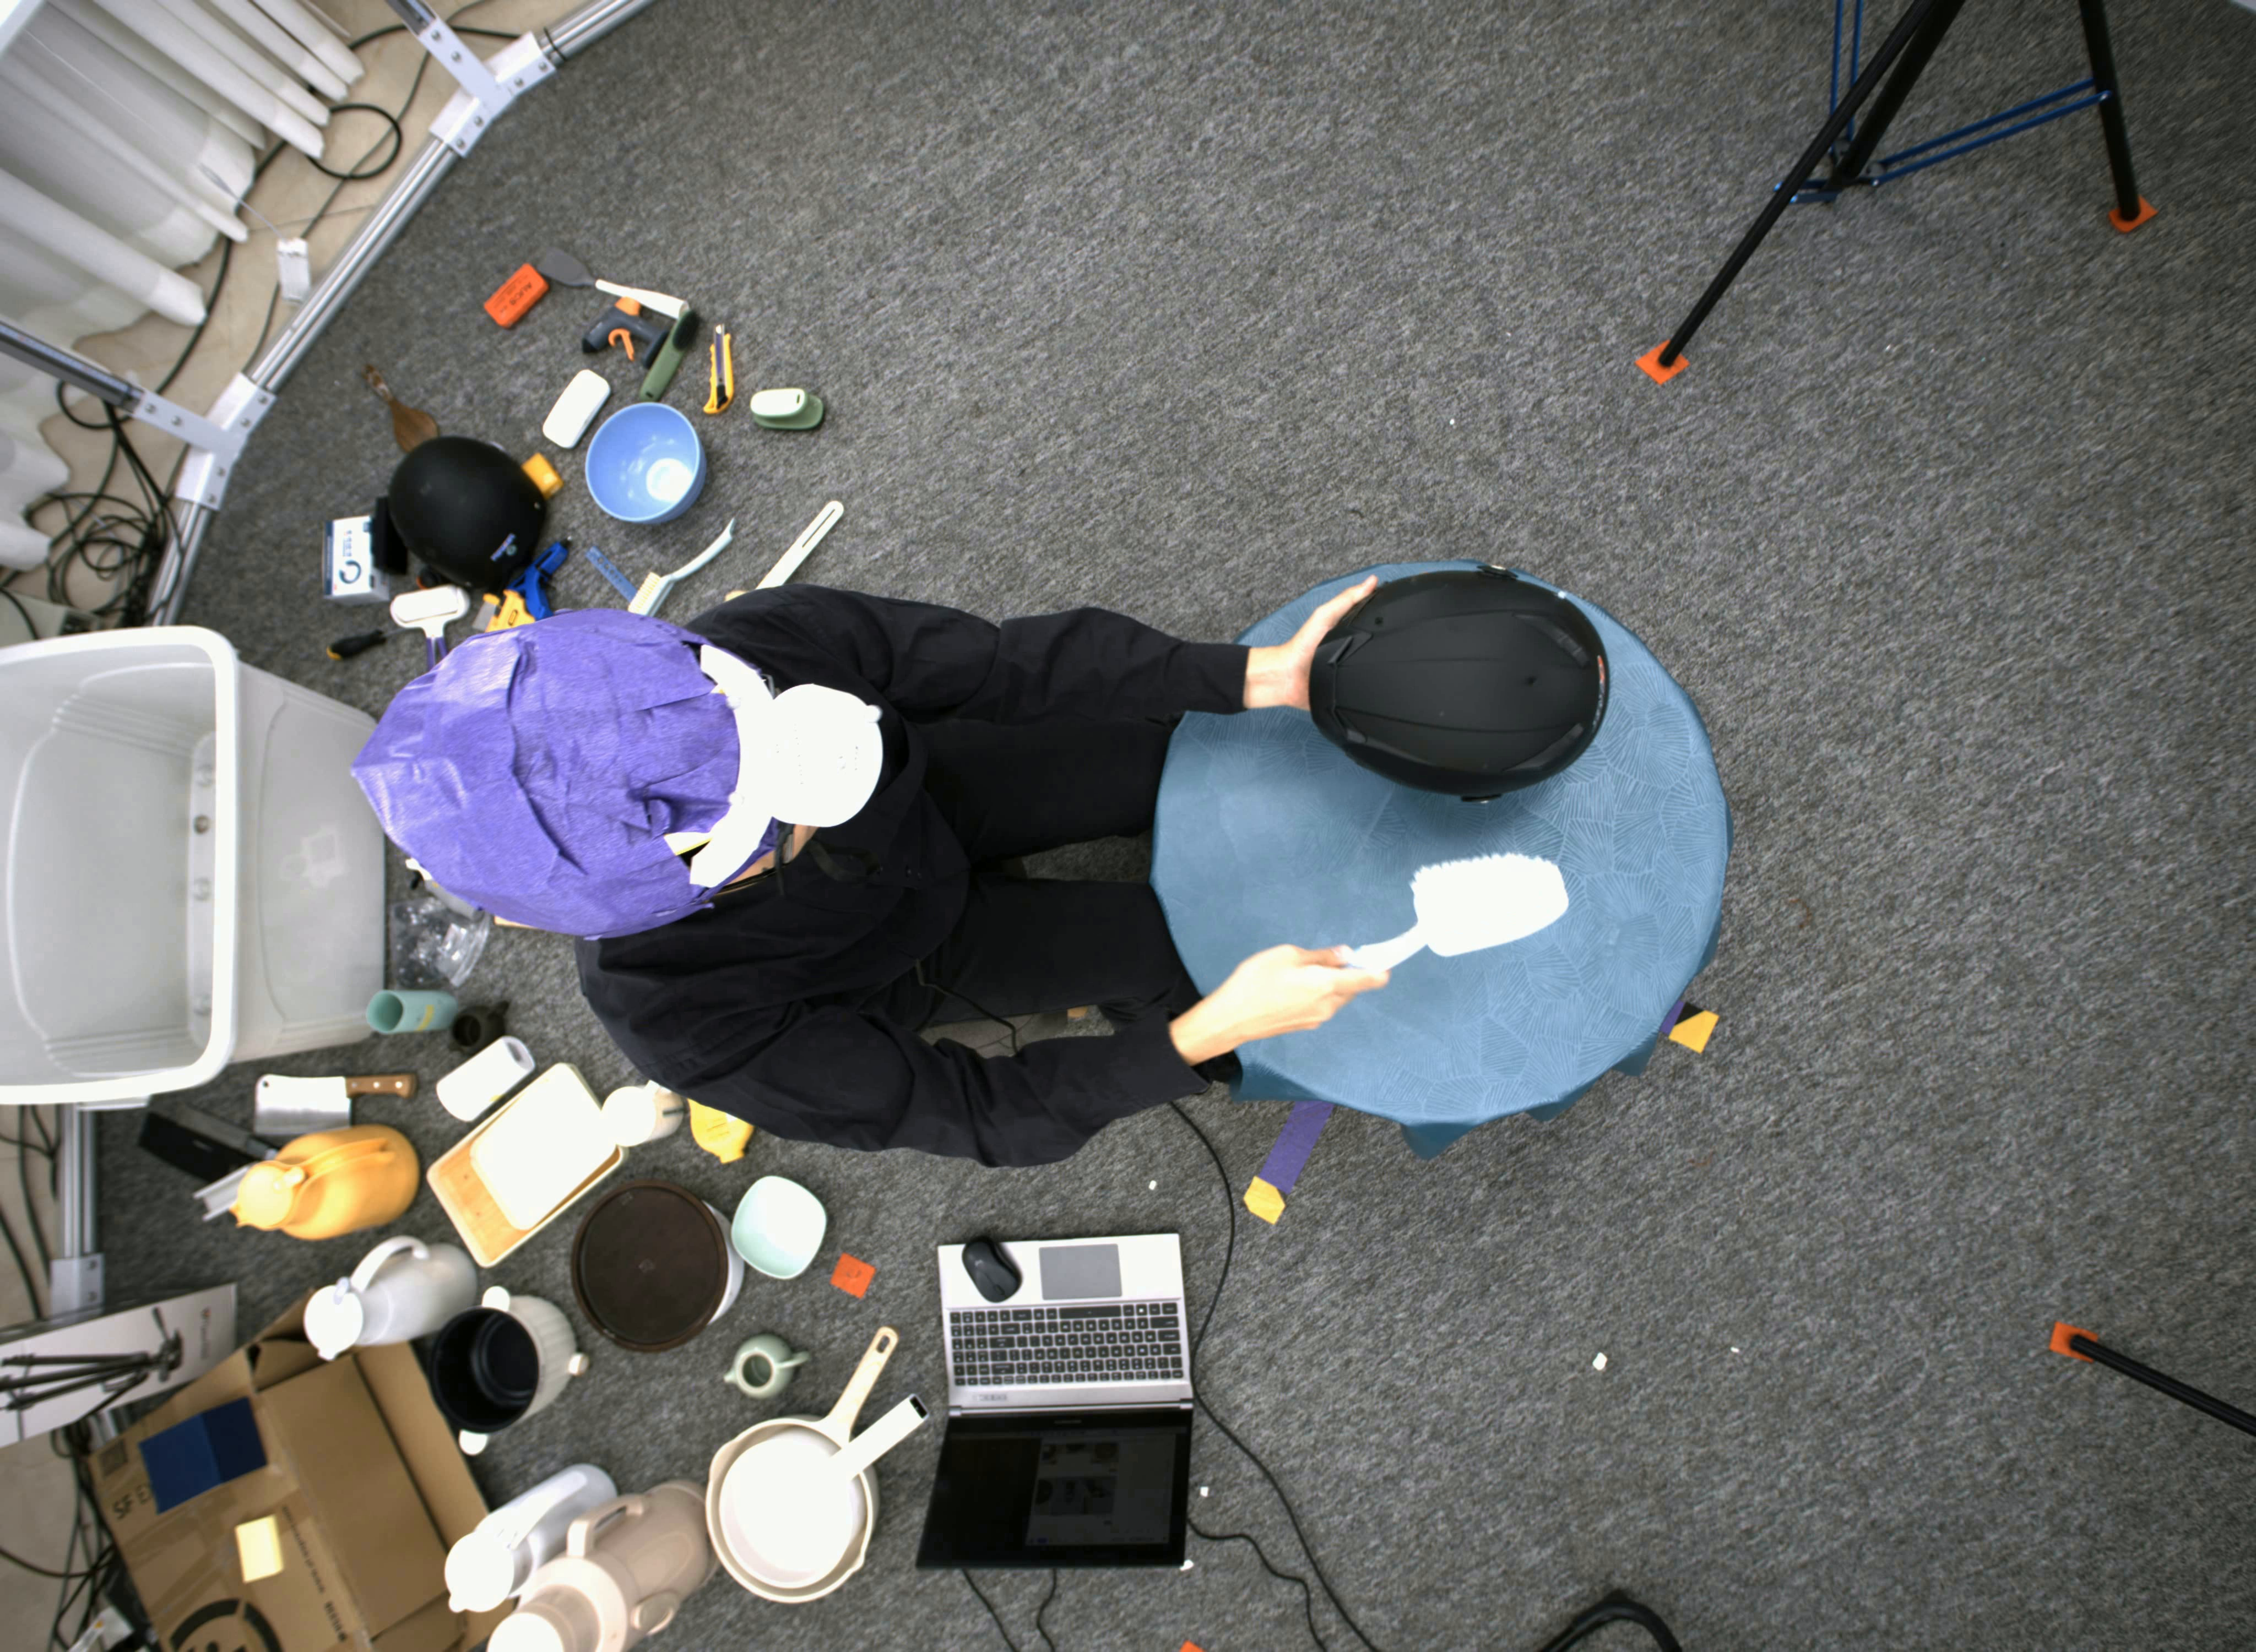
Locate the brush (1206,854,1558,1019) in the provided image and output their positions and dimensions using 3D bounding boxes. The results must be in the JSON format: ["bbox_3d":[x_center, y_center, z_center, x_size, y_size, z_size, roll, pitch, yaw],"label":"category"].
[{"bbox_3d":[0.220,0.091,1.231,0.327,0.085,0.082,-19,74,6],"label":"brush"}]

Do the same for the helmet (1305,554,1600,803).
[{"bbox_3d":[0.304,-0.133,1.283,0.277,0.170,0.250,5,105,11],"label":"helmet"}]
